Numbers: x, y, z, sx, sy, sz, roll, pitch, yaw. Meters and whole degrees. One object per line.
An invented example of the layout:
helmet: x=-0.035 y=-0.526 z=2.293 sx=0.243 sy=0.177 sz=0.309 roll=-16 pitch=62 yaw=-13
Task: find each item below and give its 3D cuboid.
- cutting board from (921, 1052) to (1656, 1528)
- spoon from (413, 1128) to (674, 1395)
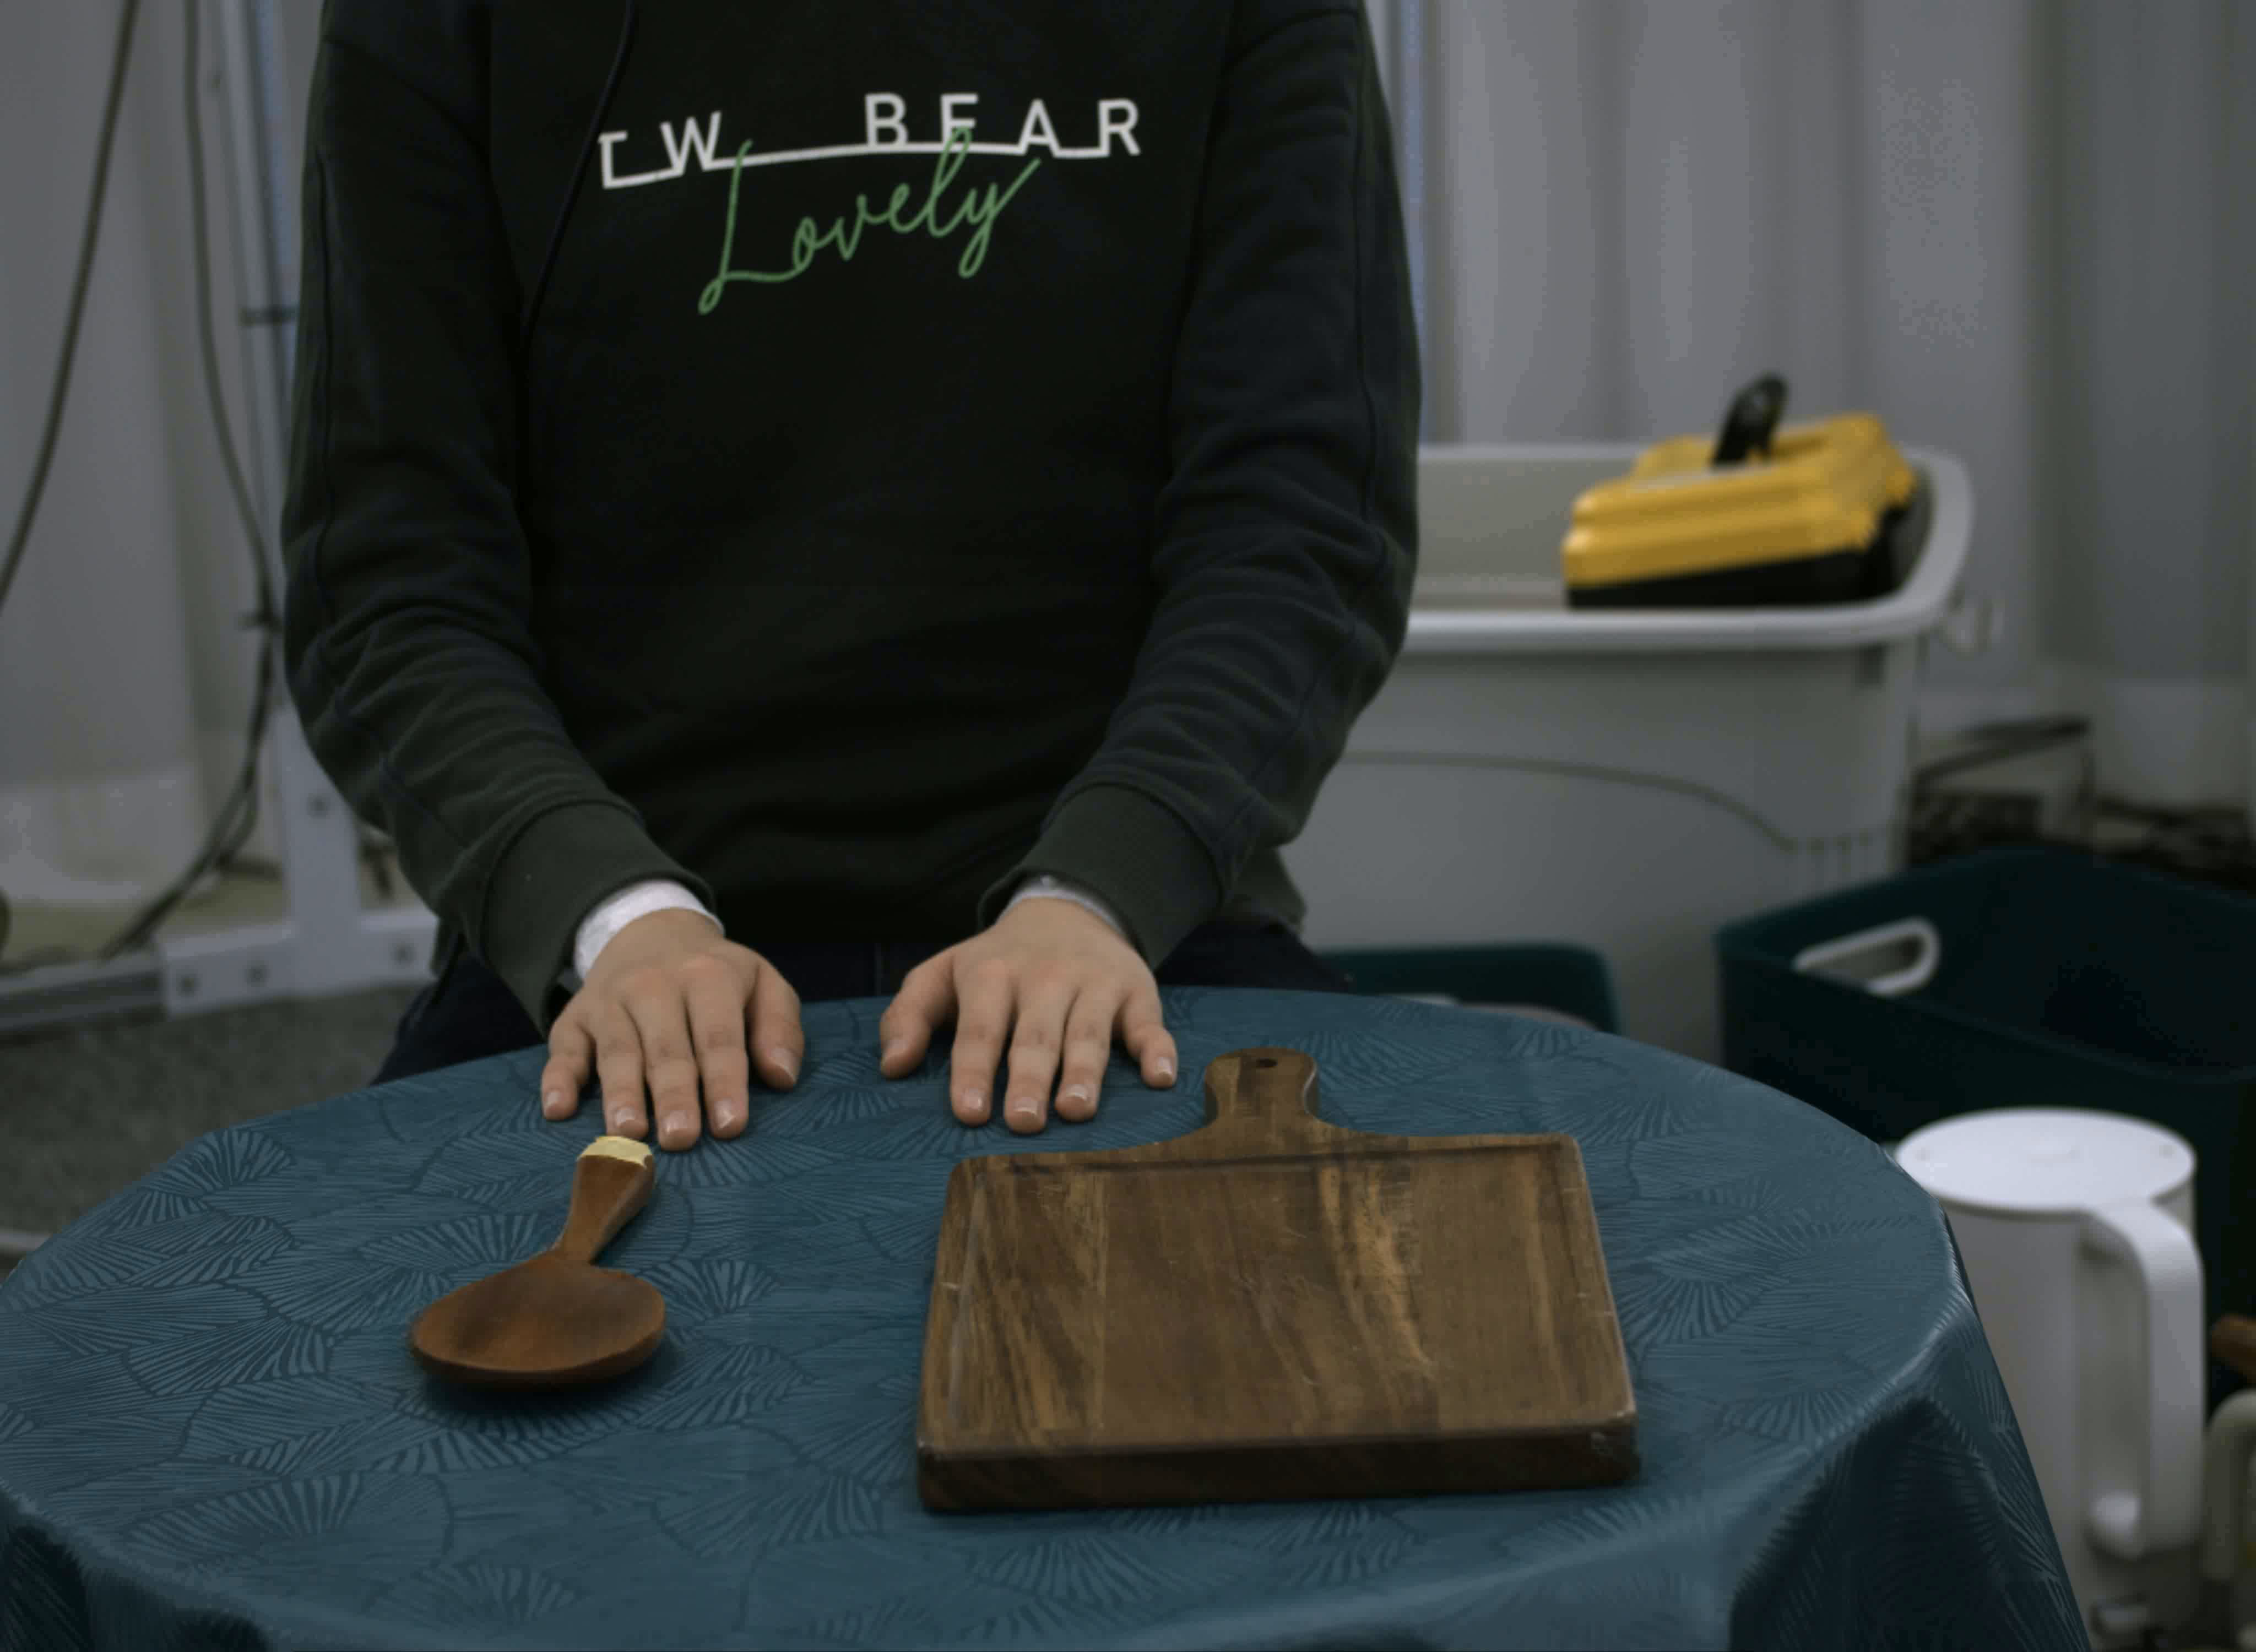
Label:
cutting board: x=0.042 y=0.129 z=1.622 sx=0.200 sy=0.023 sz=0.354 roll=-4 pitch=15 yaw=1
spoon: x=-0.166 y=0.132 z=1.646 sx=0.075 sy=0.017 sz=0.217 roll=-4 pitch=15 yaw=4
